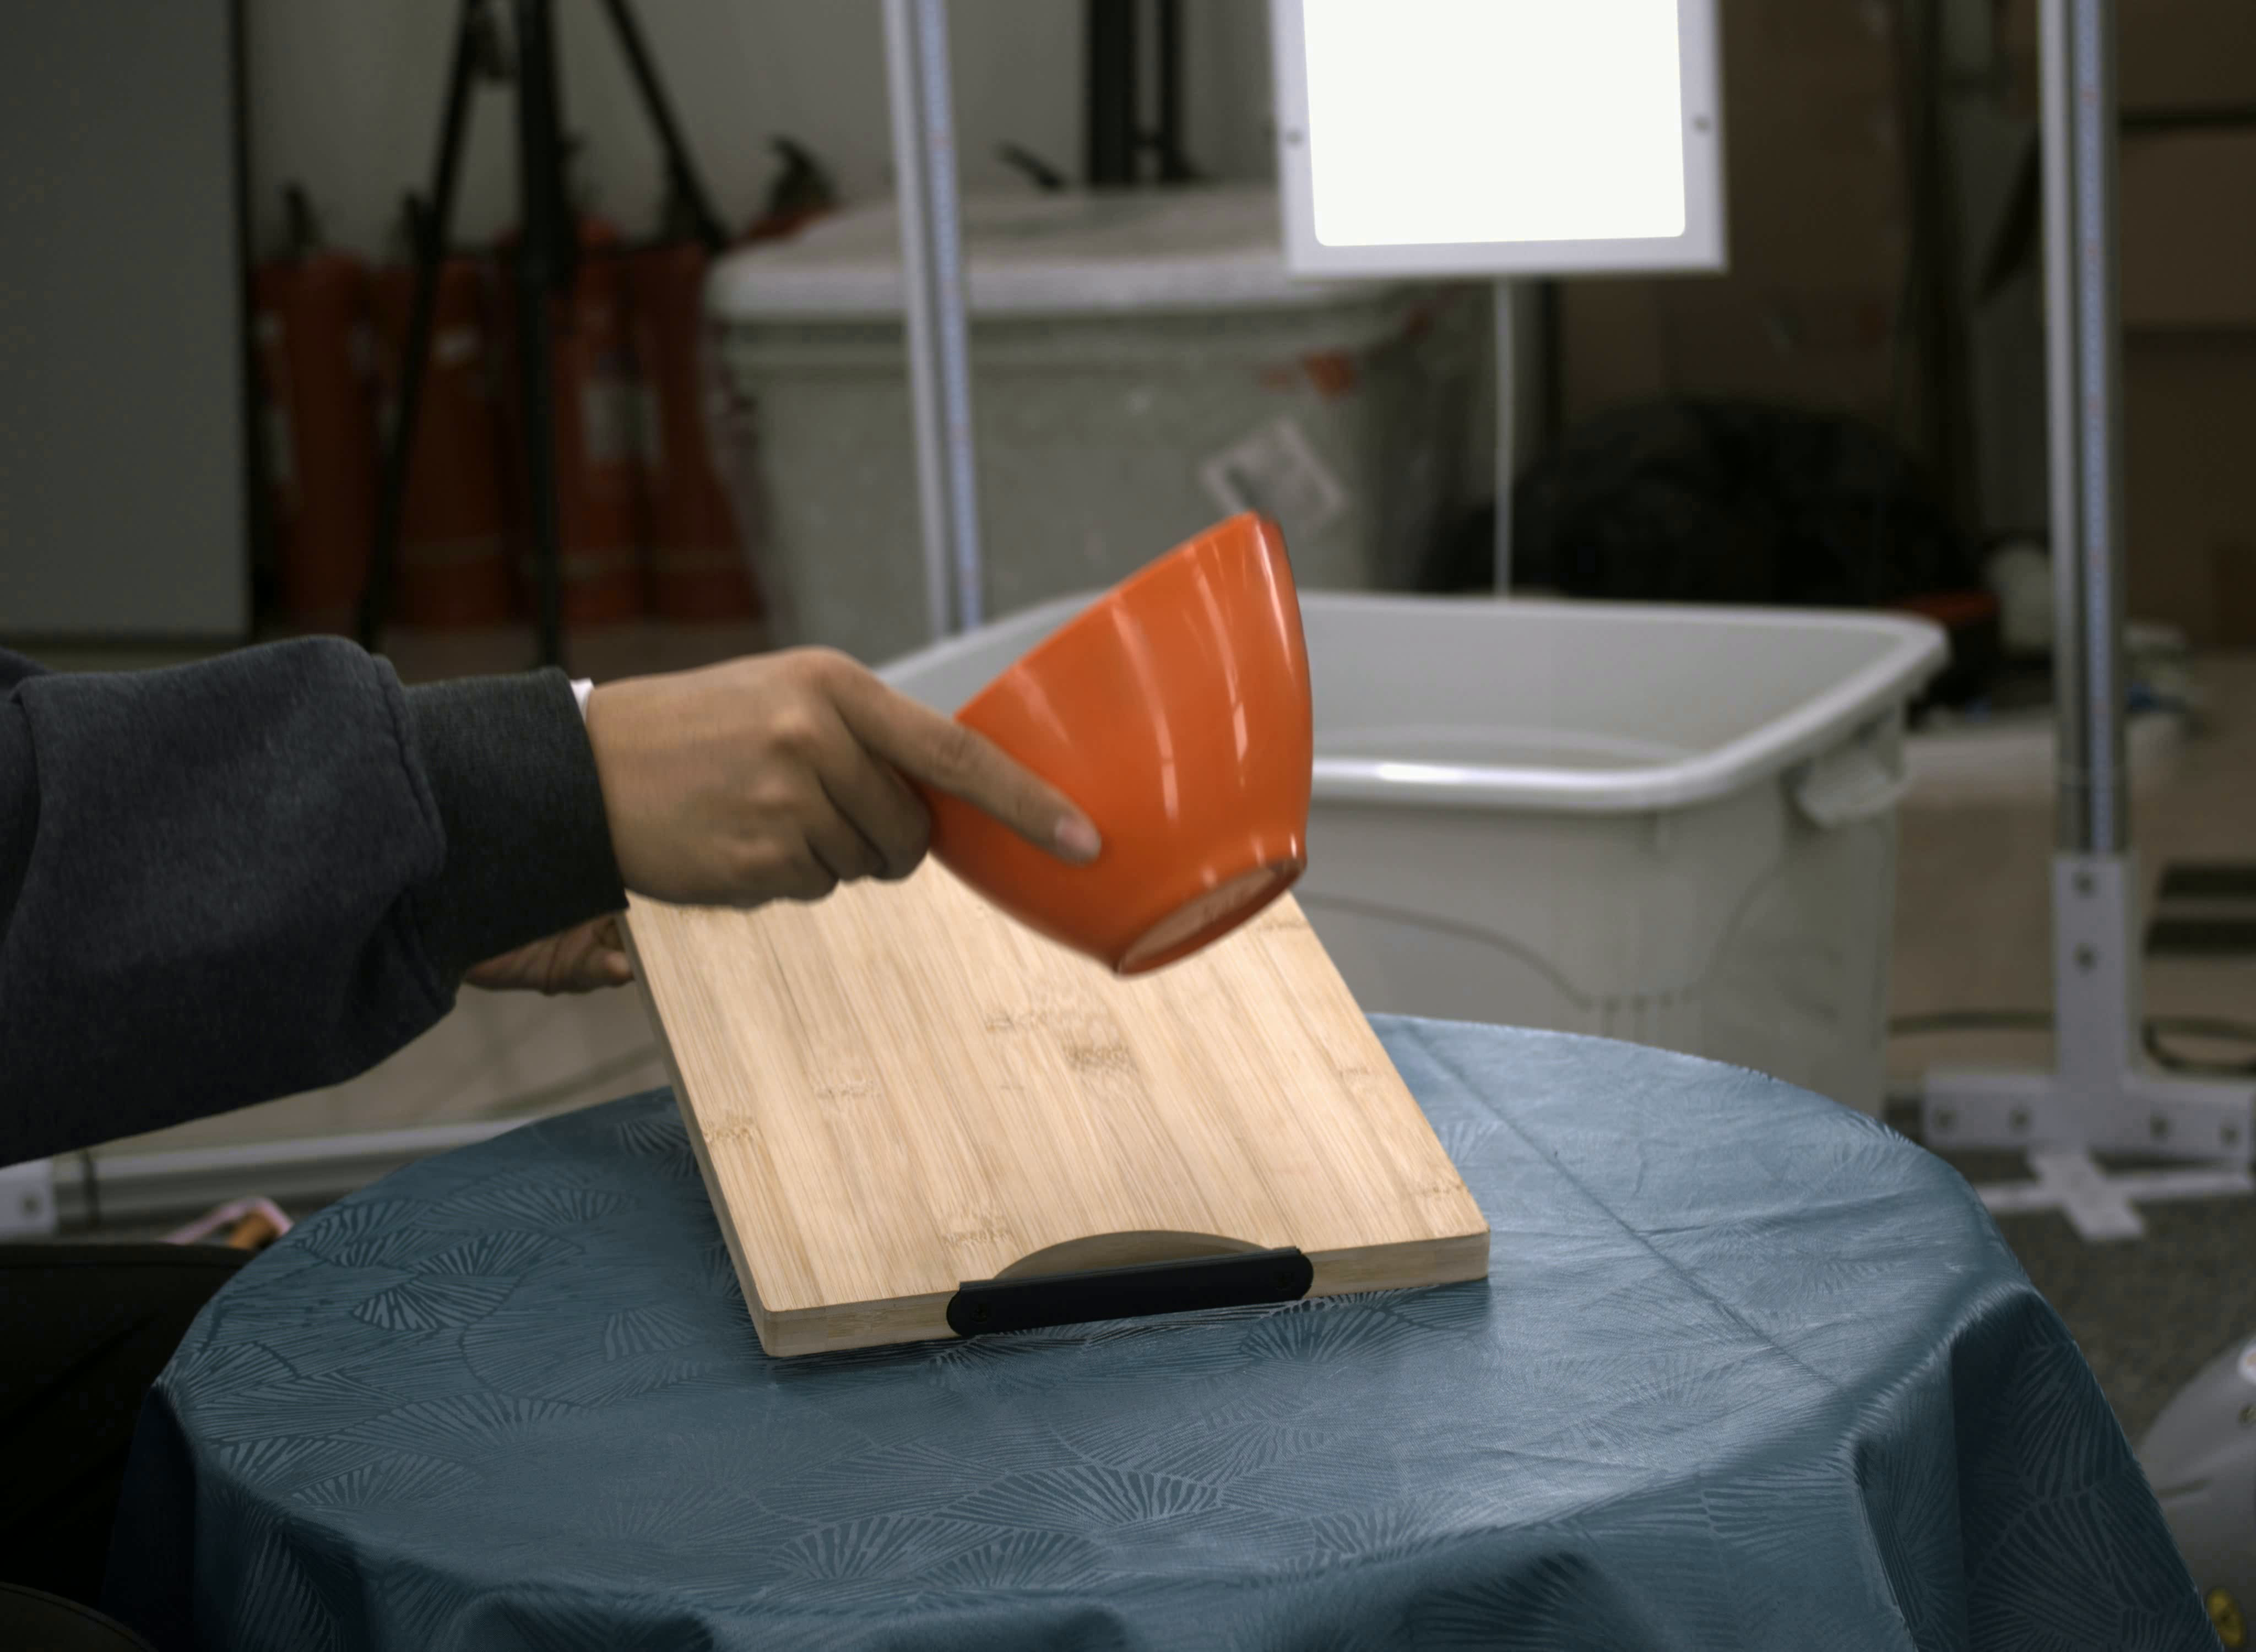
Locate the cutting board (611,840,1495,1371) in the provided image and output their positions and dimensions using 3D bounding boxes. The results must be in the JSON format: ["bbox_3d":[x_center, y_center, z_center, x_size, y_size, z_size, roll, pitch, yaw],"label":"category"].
[{"bbox_3d":[-0.036,0.083,1.897,0.248,0.024,0.351,-7,26,-11],"label":"cutting board"}]

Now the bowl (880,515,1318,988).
[{"bbox_3d":[0.007,-0.015,1.630,0.147,0.105,0.148,-27,-13,-9],"label":"bowl"}]
